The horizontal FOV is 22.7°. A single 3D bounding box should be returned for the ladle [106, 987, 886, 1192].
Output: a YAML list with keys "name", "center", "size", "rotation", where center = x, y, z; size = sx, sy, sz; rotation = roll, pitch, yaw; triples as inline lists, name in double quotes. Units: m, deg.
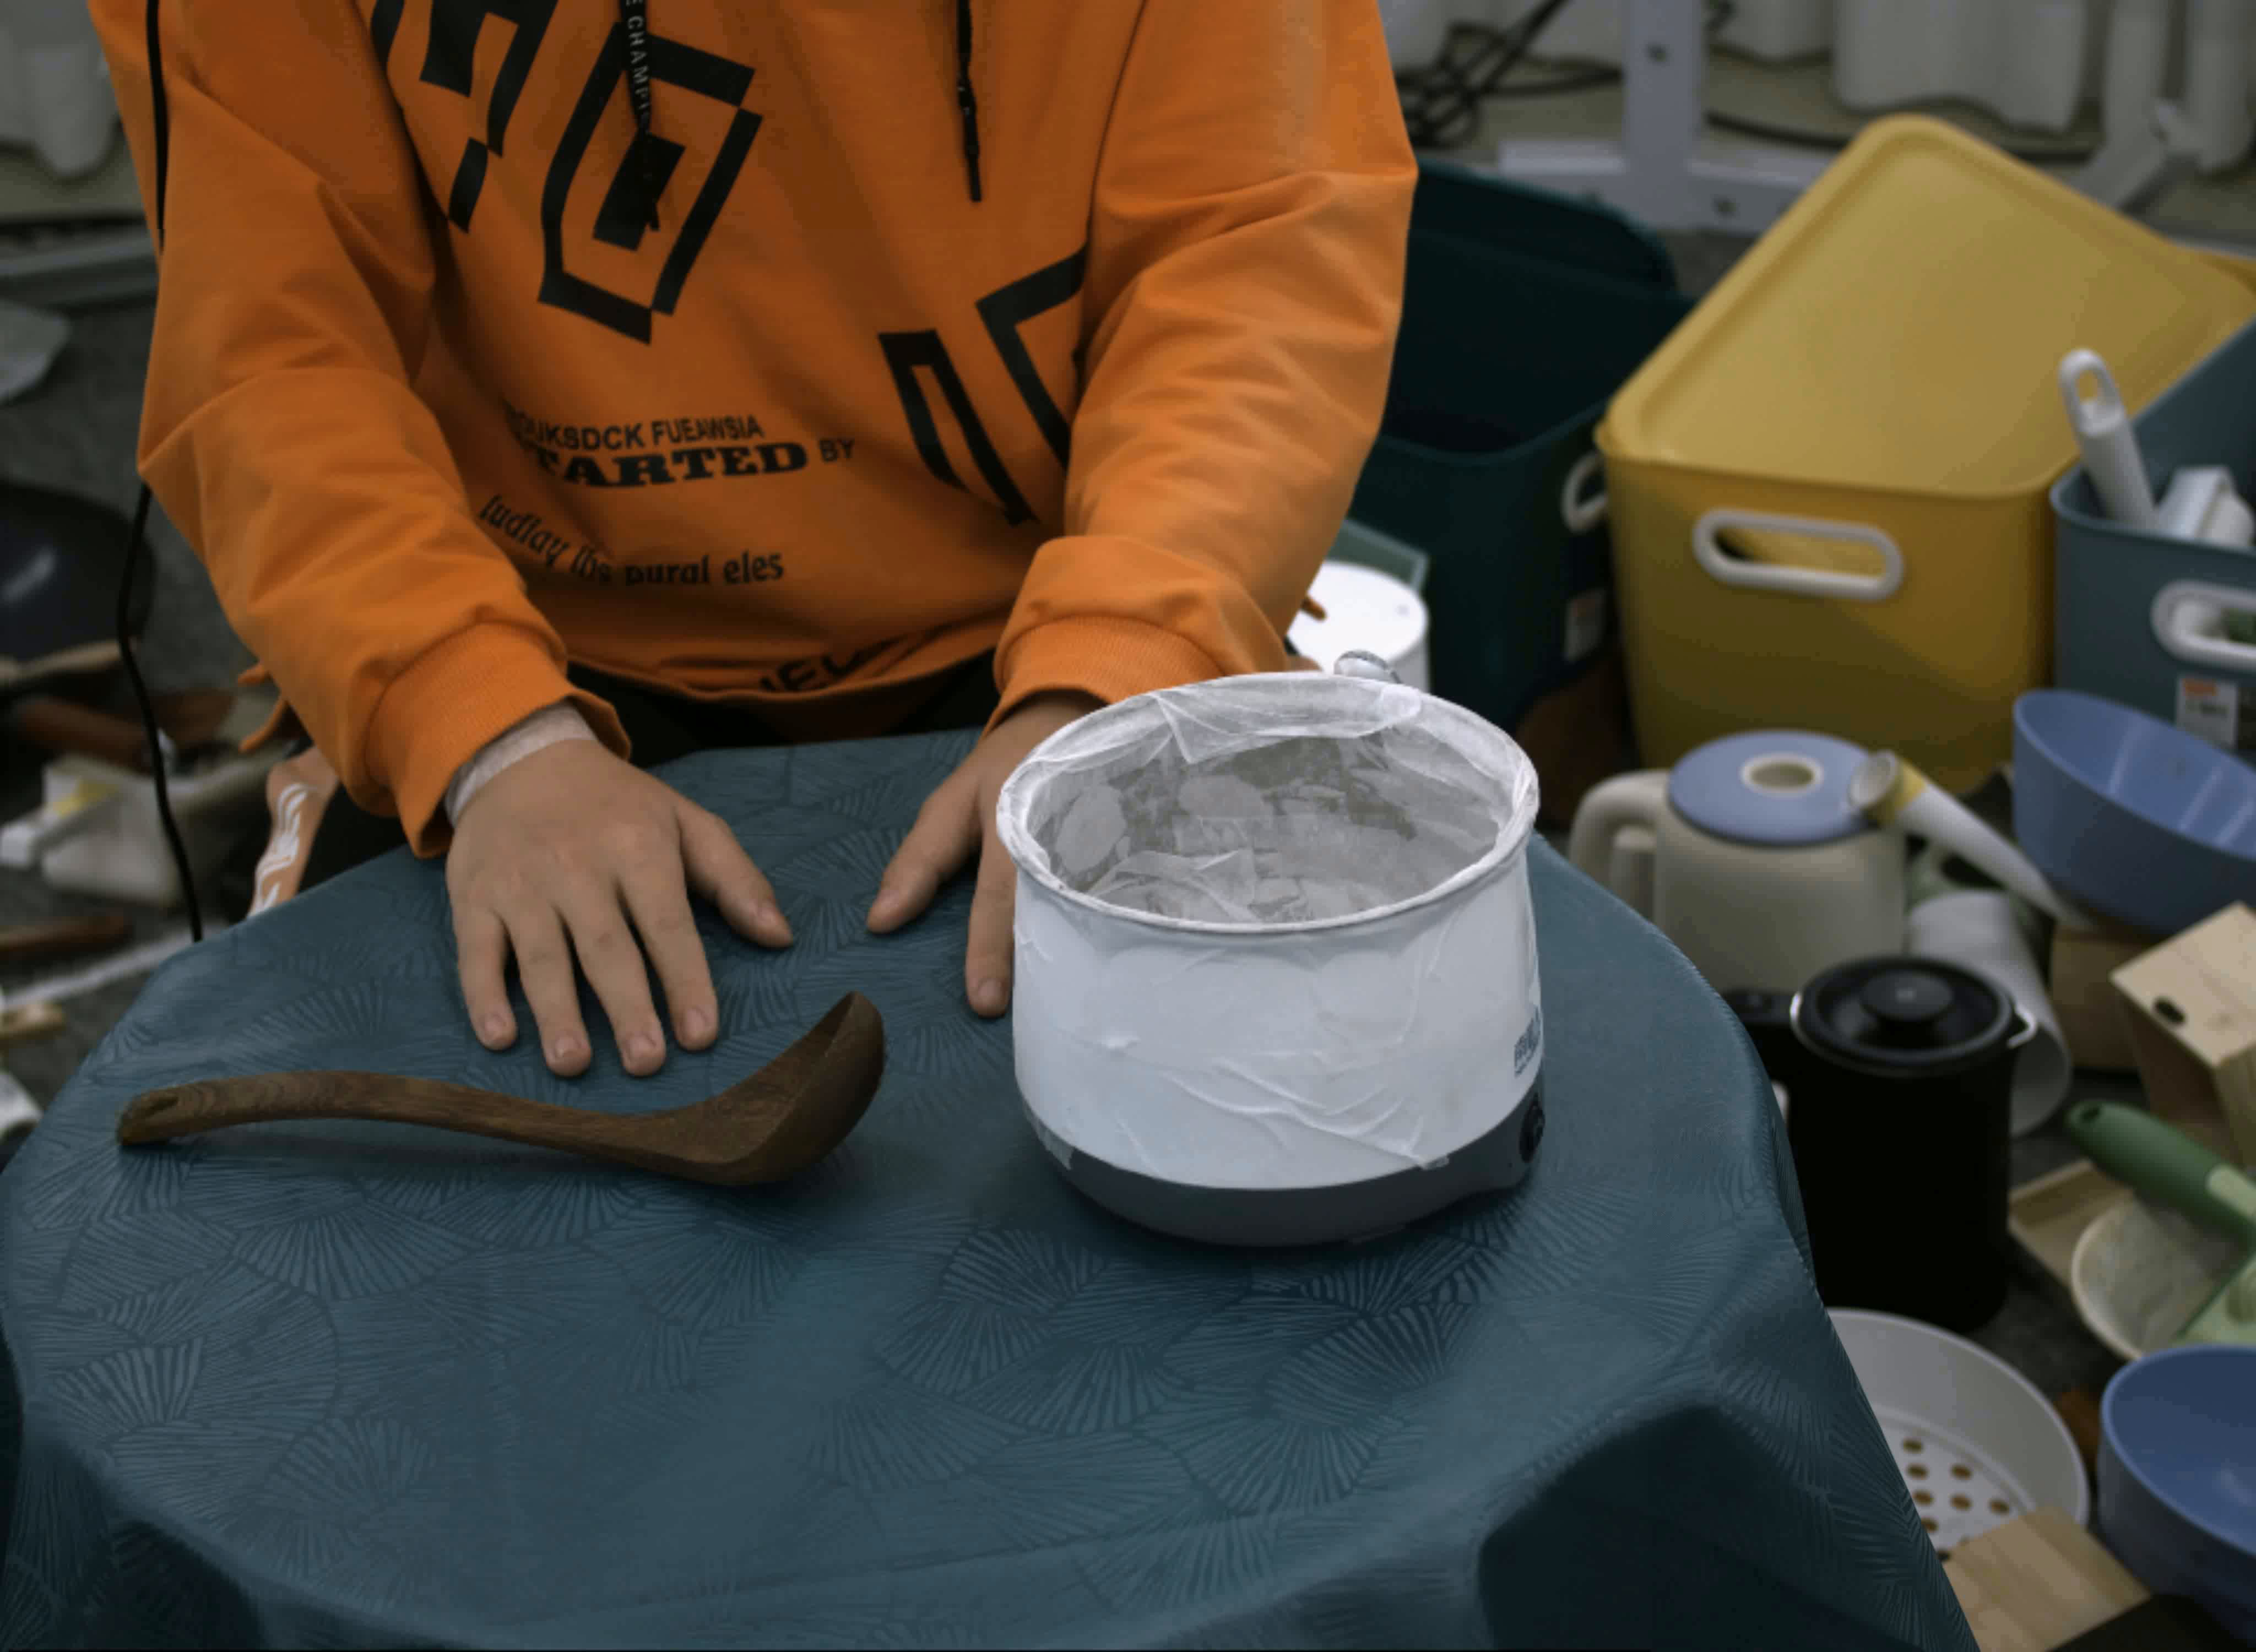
- name: "ladle"
  center: [-0.215, 0.082, 1.885]
  size: [0.272, 0.070, 0.077]
  rotation: [3, 24, 11]

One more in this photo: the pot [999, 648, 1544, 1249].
- name: "pot"
  center: [0.057, 0.033, 1.880]
  size: [0.177, 0.135, 0.238]
  rotation: [6, 29, 17]
